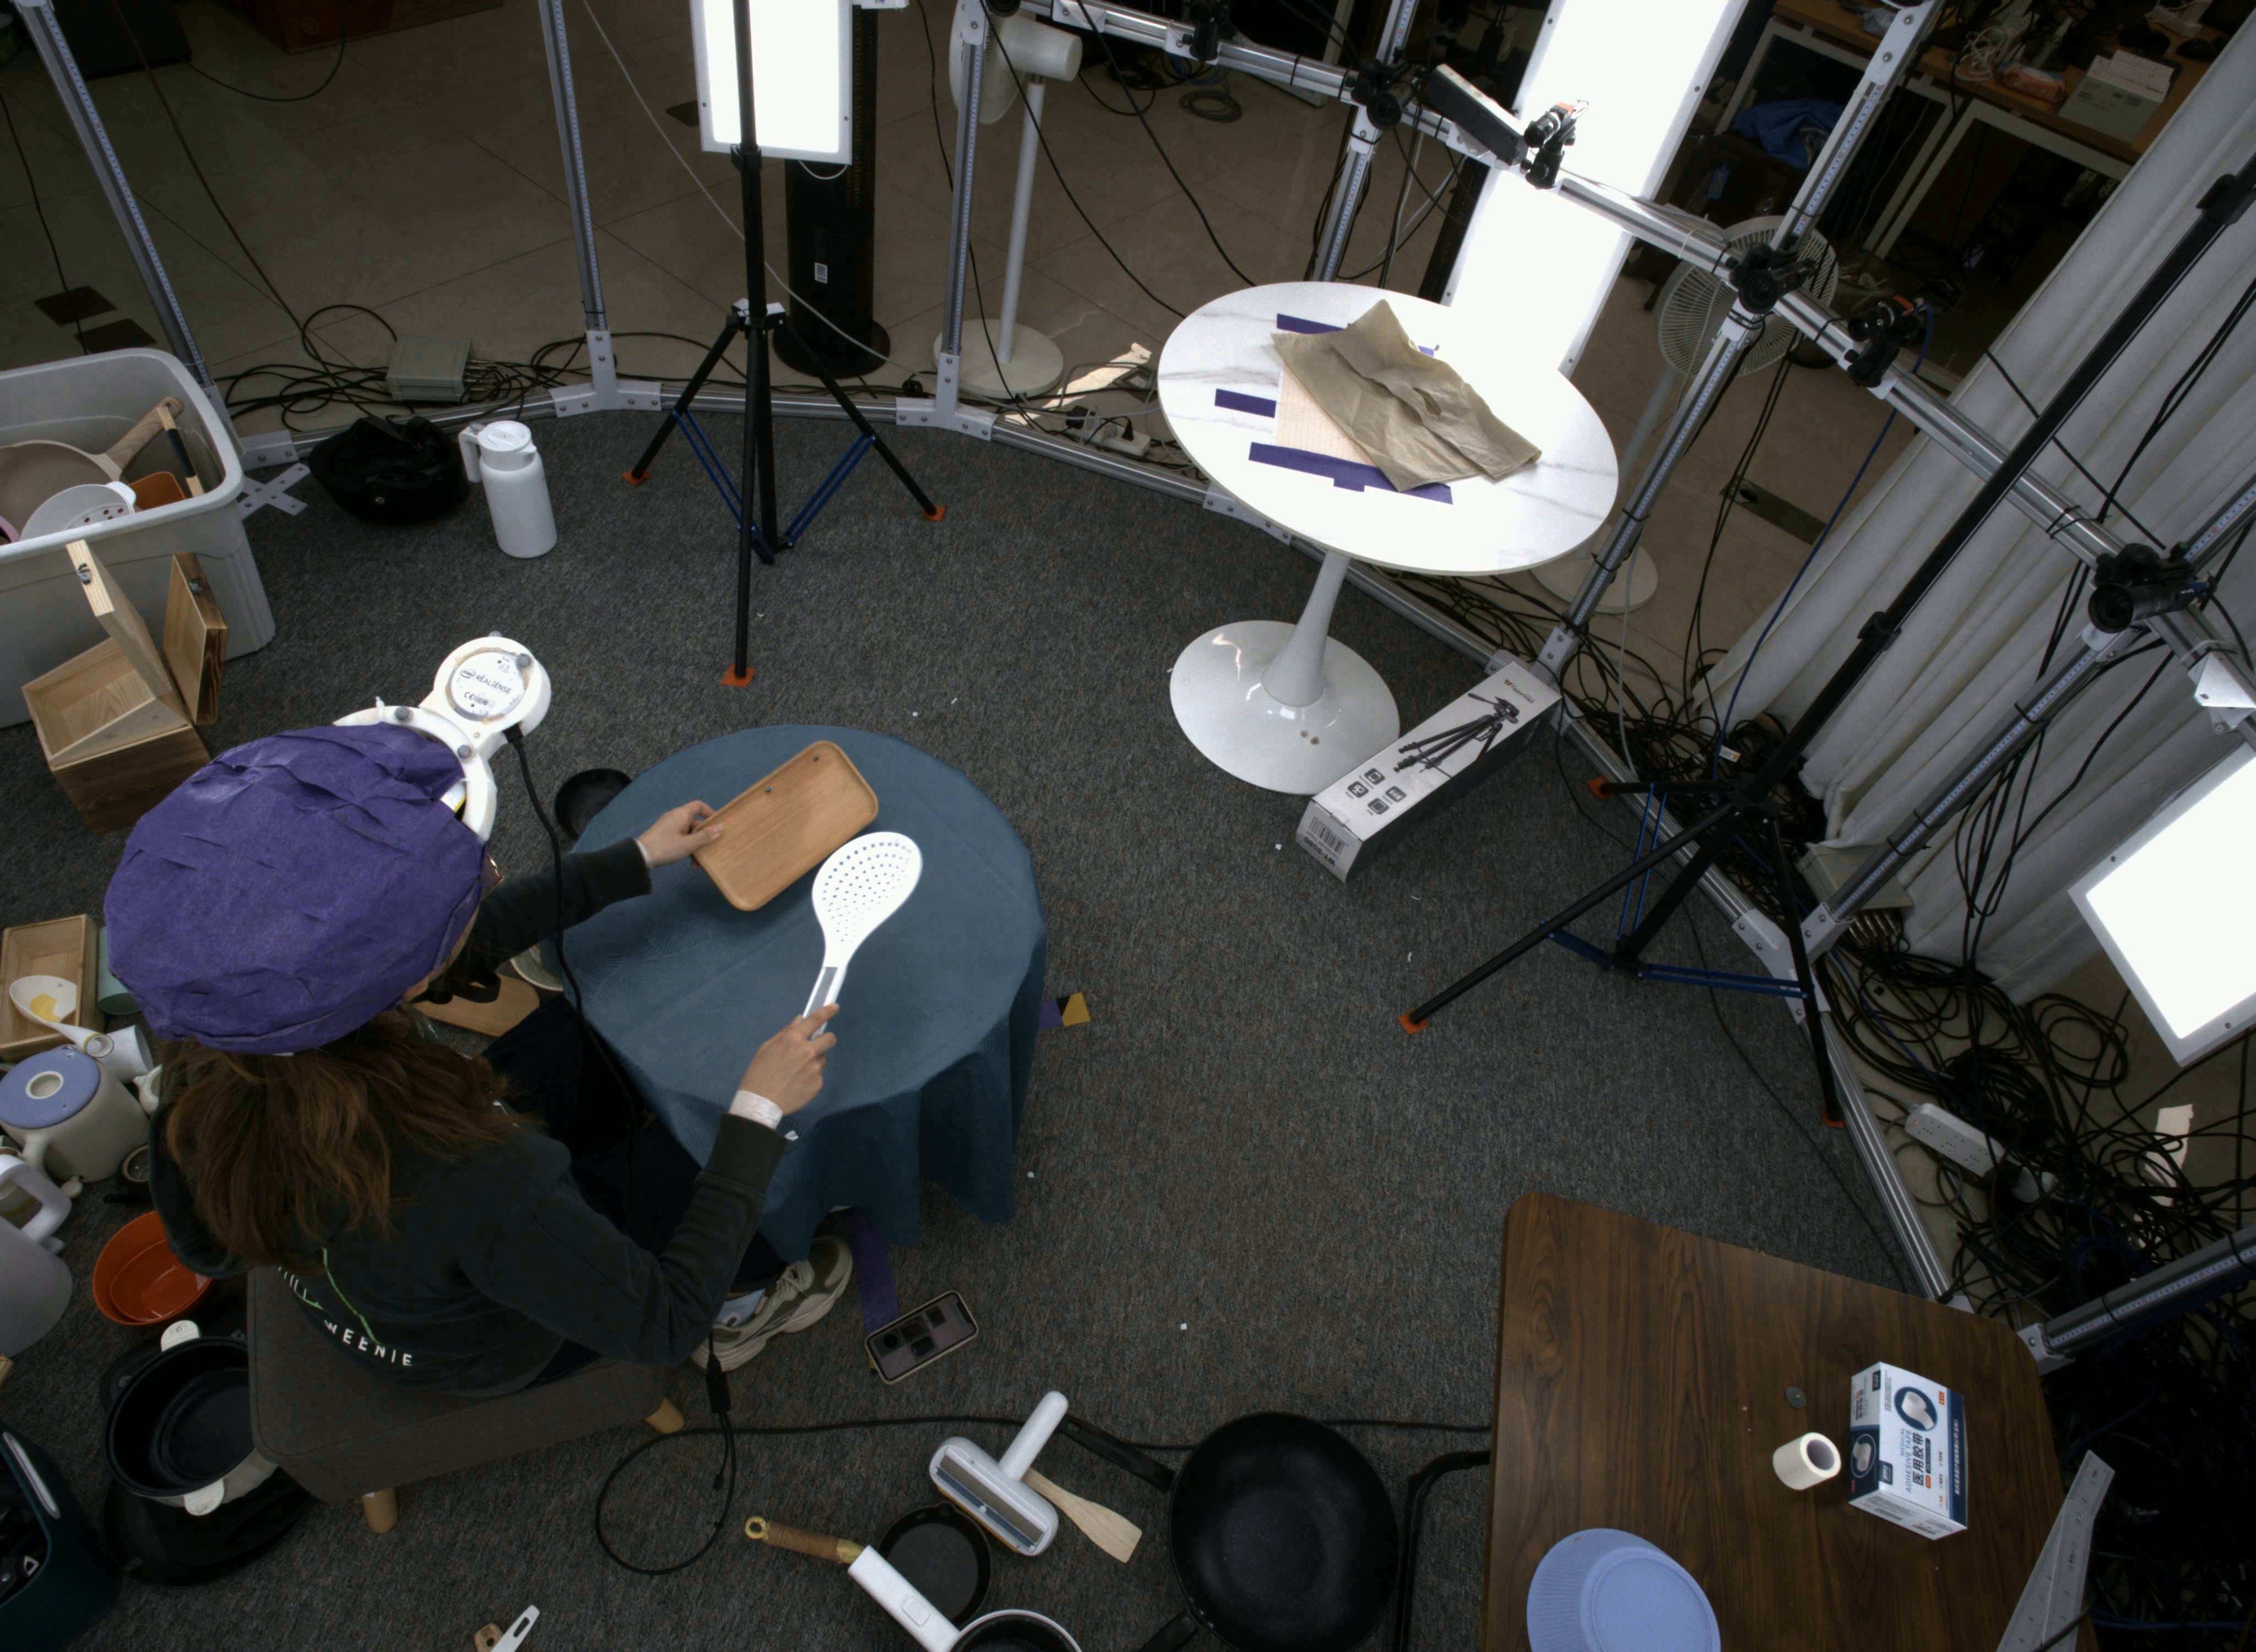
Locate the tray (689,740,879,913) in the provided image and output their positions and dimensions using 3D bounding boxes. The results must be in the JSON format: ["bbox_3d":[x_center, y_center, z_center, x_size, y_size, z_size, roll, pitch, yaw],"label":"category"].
[{"bbox_3d":[-0.436,-0.003,1.655,0.251,0.022,0.133,-42,102,-36],"label":"tray"}]

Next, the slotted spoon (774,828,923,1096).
[{"bbox_3d":[-0.322,0.143,1.457,0.132,0.047,0.345,0,47,19],"label":"slotted spoon"}]
